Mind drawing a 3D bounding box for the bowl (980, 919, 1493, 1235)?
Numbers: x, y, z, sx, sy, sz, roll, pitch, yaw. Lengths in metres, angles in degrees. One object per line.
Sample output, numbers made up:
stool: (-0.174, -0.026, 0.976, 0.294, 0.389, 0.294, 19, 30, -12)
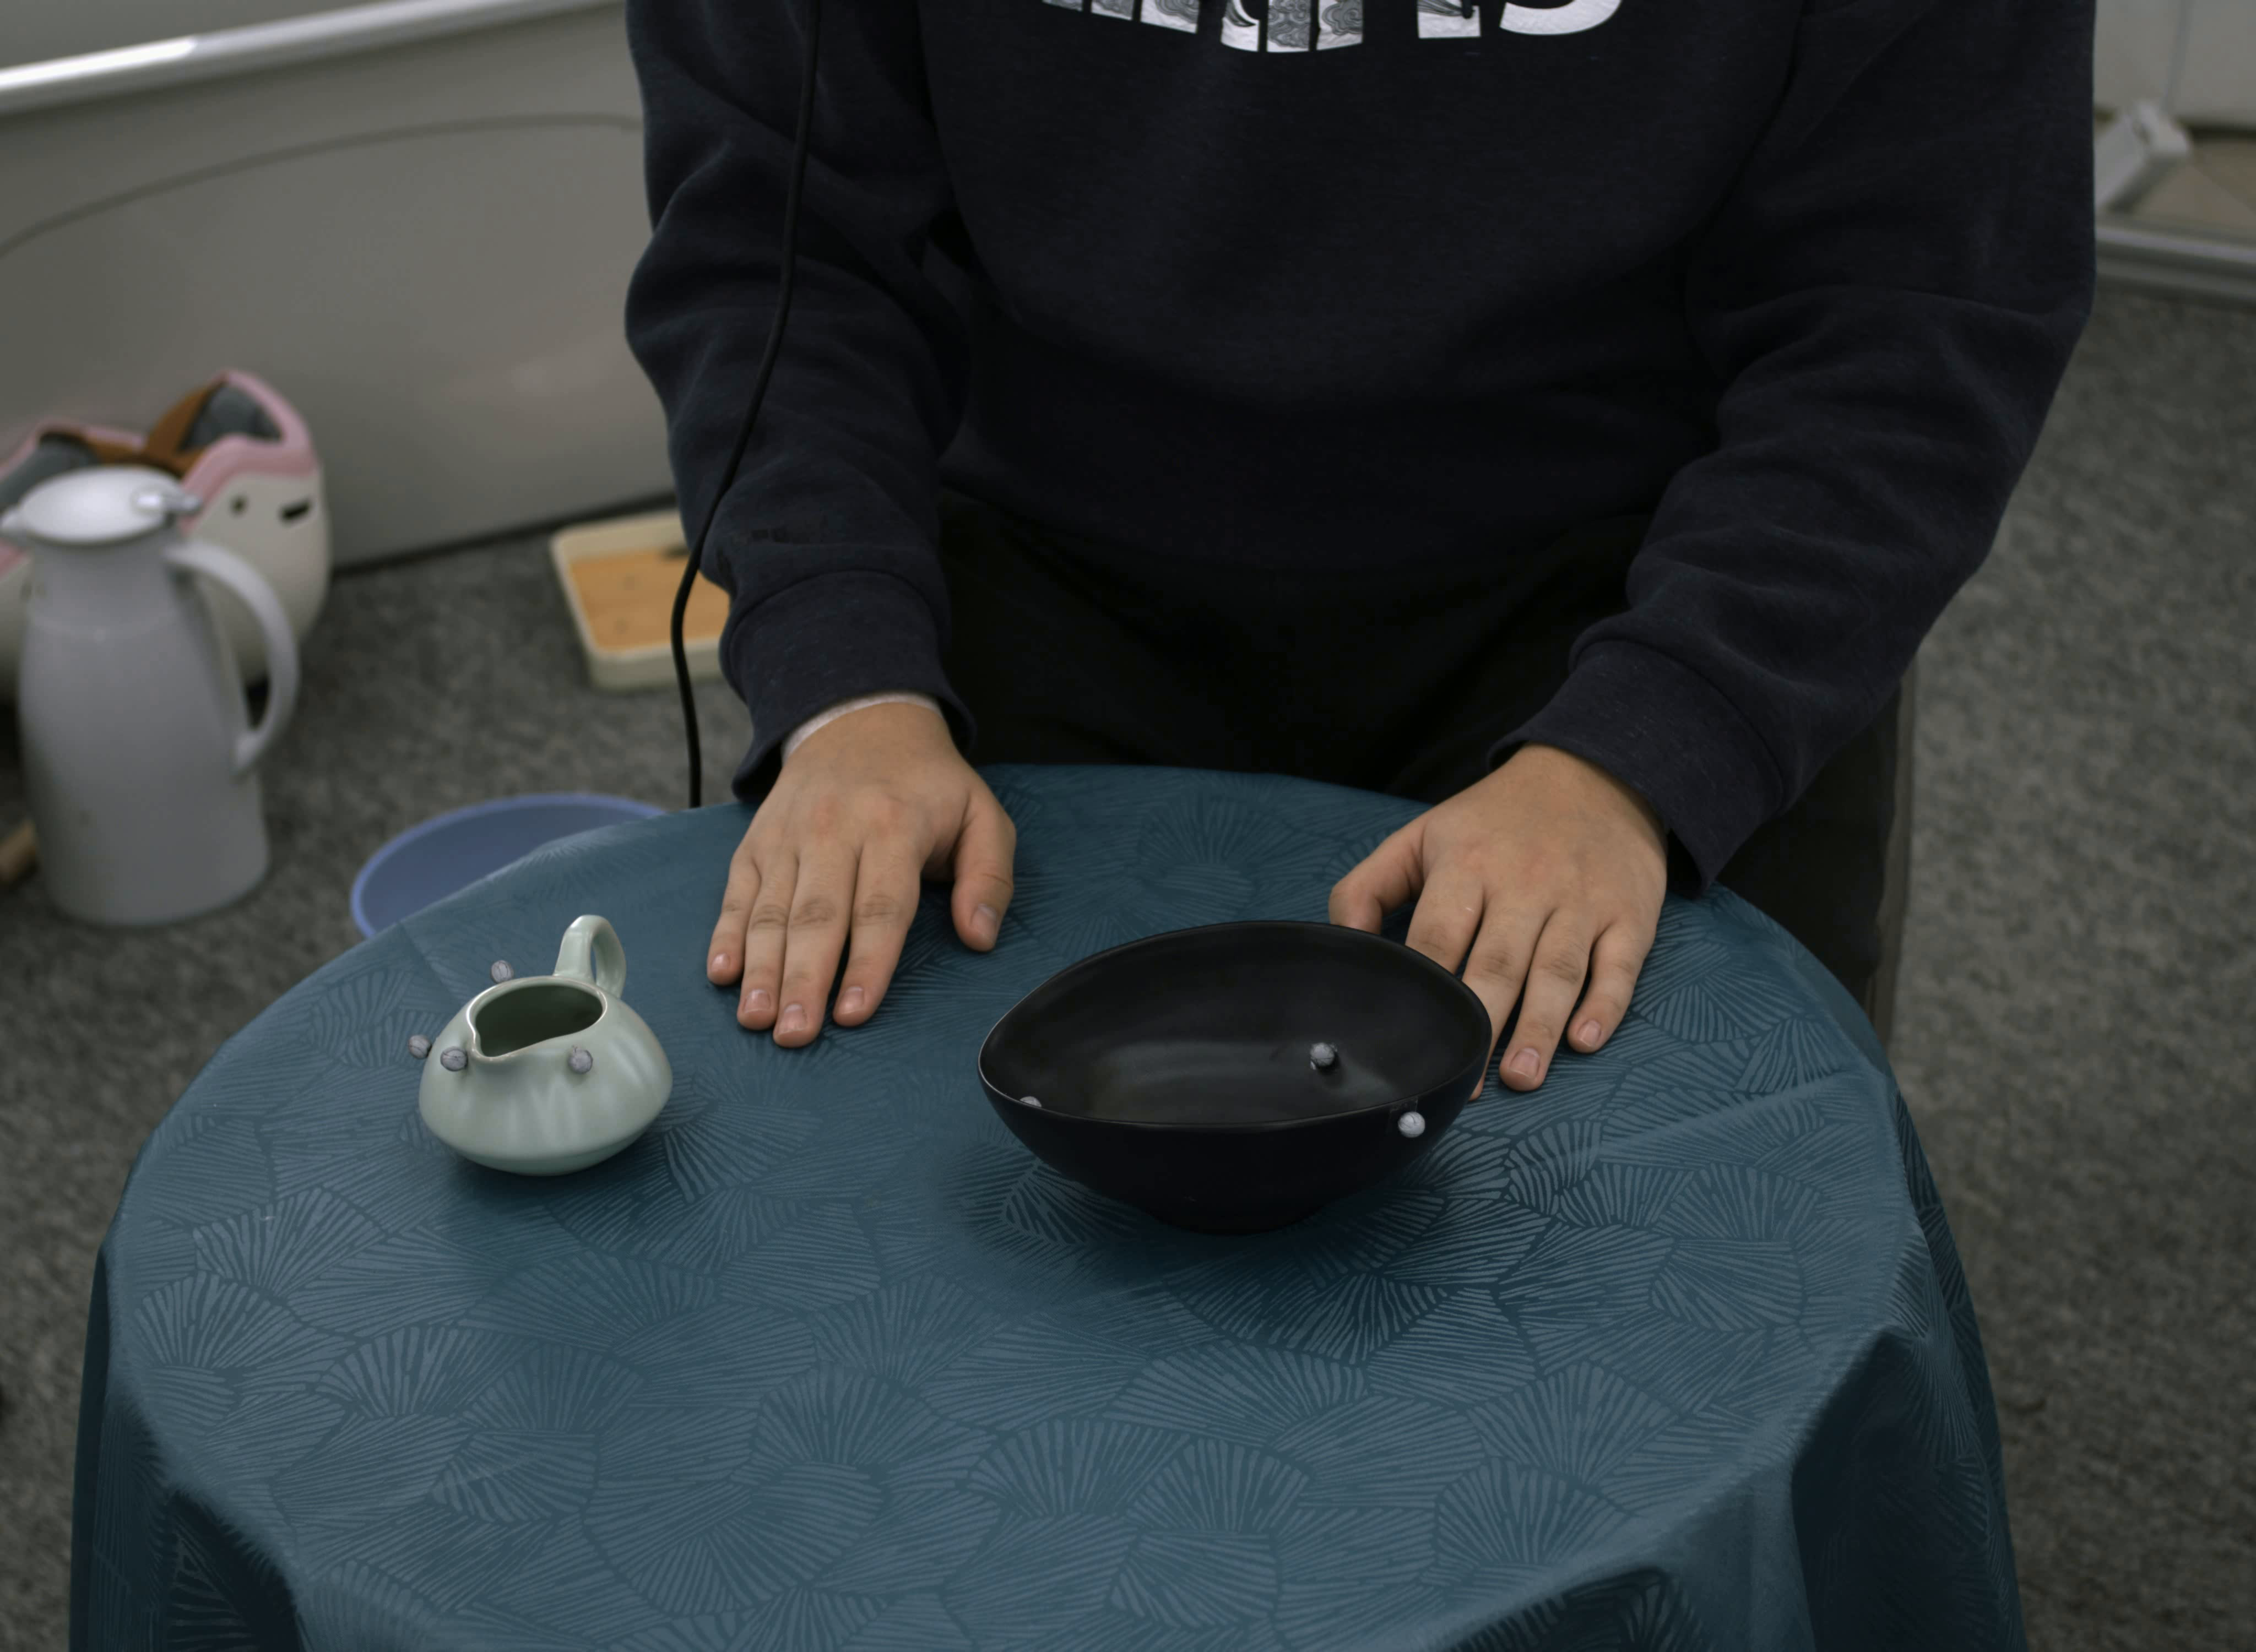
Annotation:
bowl: (0.036, 0.092, 1.852, 0.169, 0.066, 0.139, -2, 26, 3)

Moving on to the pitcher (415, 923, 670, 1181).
pitcher: (-0.195, 0.078, 1.906, 0.085, 0.060, 0.110, 5, 26, 14)
